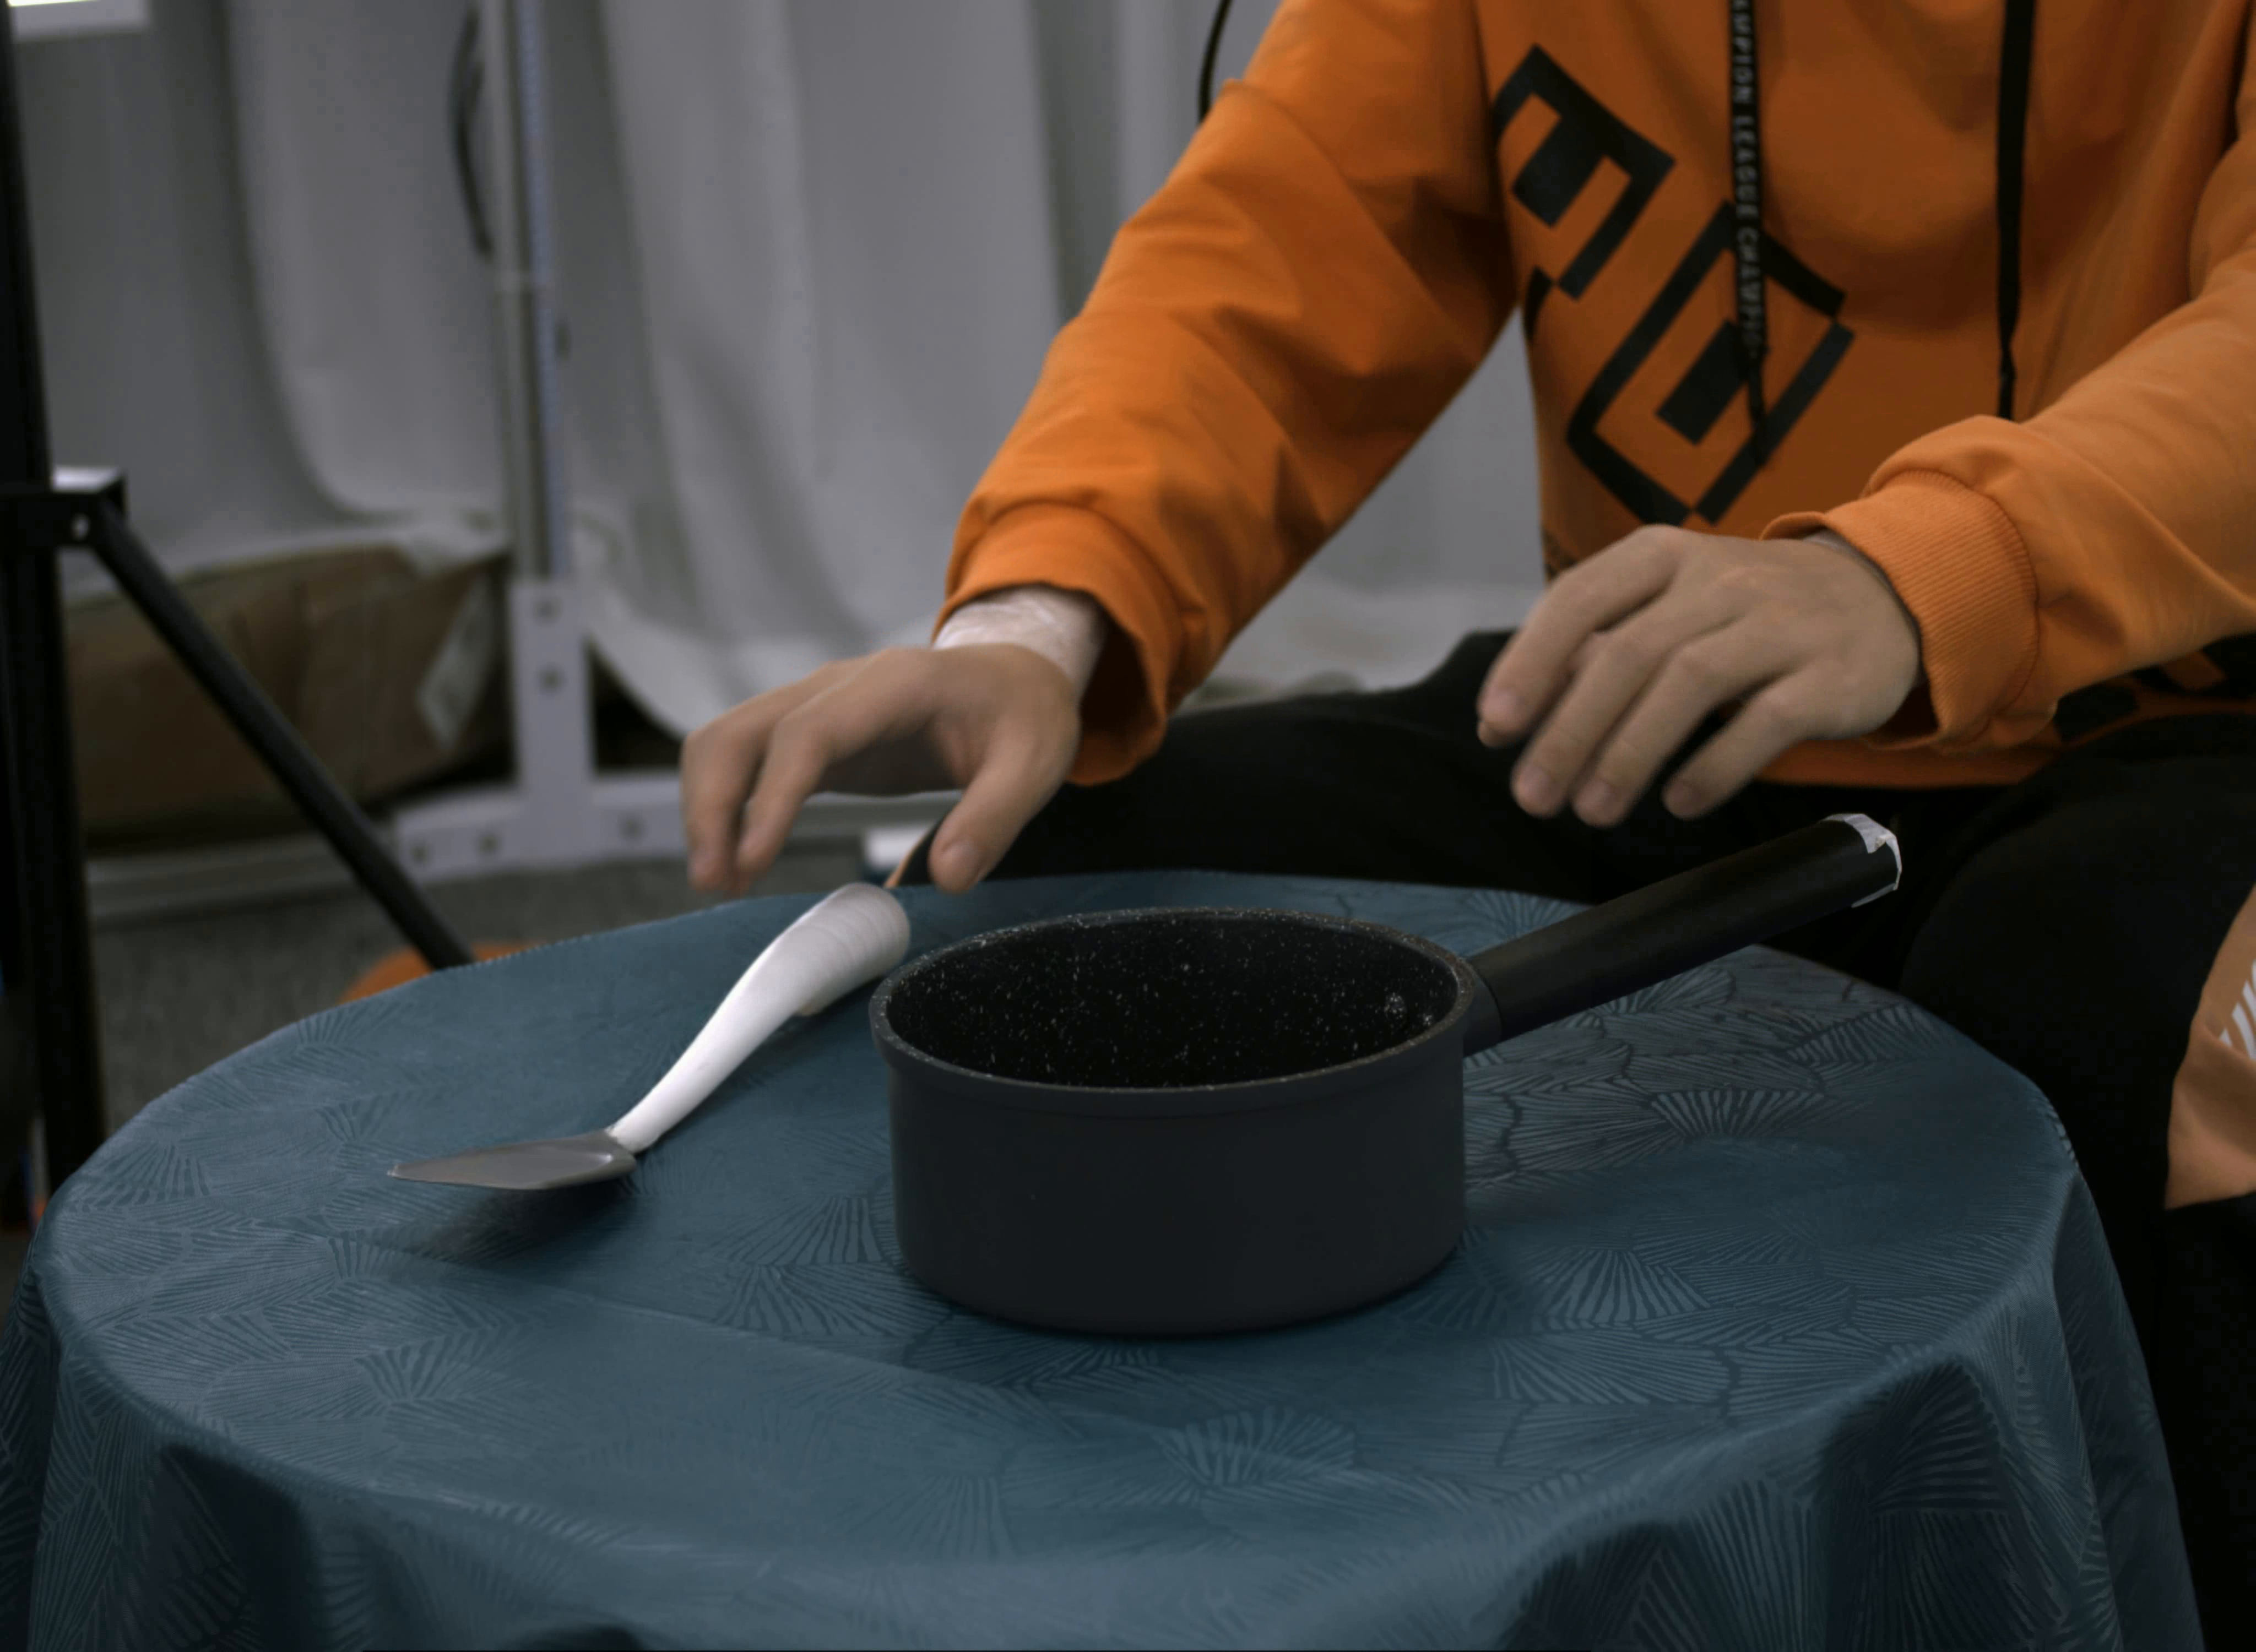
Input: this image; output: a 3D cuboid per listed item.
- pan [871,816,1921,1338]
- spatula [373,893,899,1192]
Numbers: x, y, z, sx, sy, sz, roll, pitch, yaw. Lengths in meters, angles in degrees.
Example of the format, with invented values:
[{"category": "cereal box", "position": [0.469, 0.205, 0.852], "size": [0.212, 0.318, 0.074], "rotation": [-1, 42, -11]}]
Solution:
[{"category": "pan", "position": [0.085, 0.067, 1.532], "size": [0.322, 0.086, 0.175], "rotation": [-11, 18, -22]}, {"category": "spatula", "position": [-0.141, 0.074, 1.644], "size": [0.059, 0.032, 0.284], "rotation": [7, 18, 20]}]
